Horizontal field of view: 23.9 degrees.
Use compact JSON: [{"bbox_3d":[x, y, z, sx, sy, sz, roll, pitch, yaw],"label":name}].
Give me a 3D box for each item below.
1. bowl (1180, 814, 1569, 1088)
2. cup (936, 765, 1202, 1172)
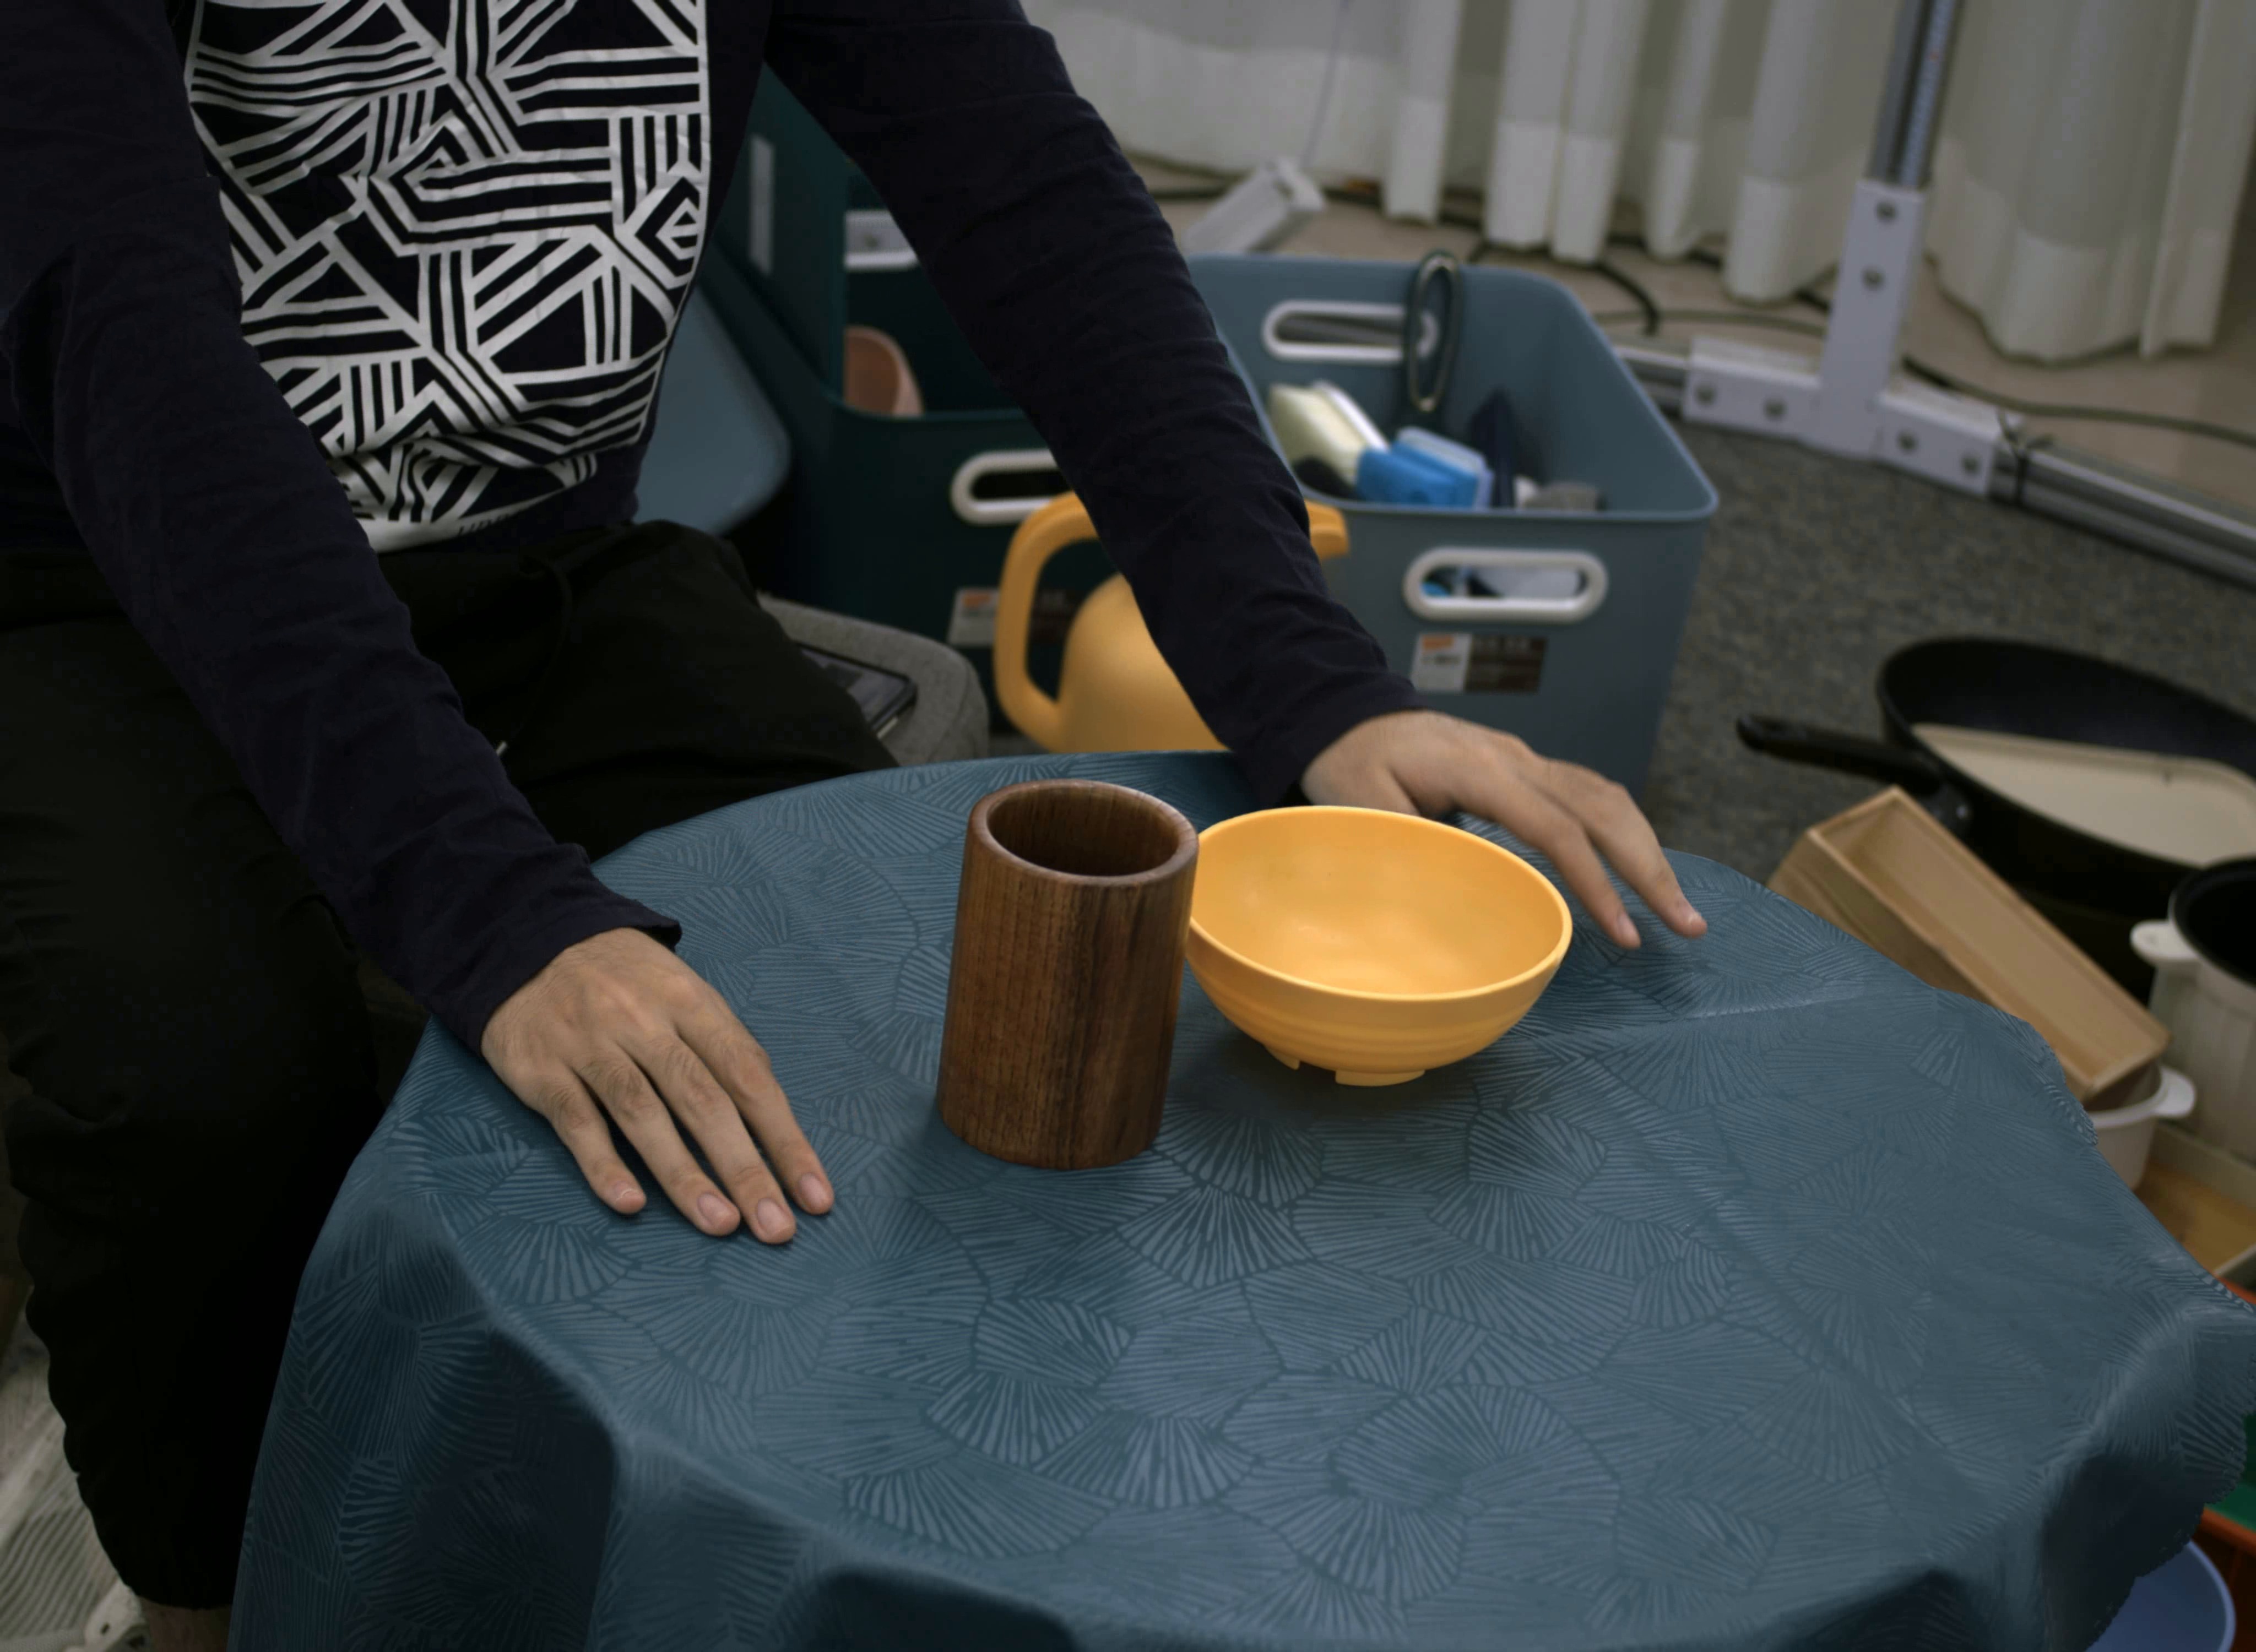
[{"bbox_3d":[0.083,0.053,1.902,0.145,0.060,0.146,5,25,-3],"label":"bowl"},{"bbox_3d":[-0.022,0.048,1.822,0.087,0.118,0.088,6,25,-3],"label":"cup"}]
